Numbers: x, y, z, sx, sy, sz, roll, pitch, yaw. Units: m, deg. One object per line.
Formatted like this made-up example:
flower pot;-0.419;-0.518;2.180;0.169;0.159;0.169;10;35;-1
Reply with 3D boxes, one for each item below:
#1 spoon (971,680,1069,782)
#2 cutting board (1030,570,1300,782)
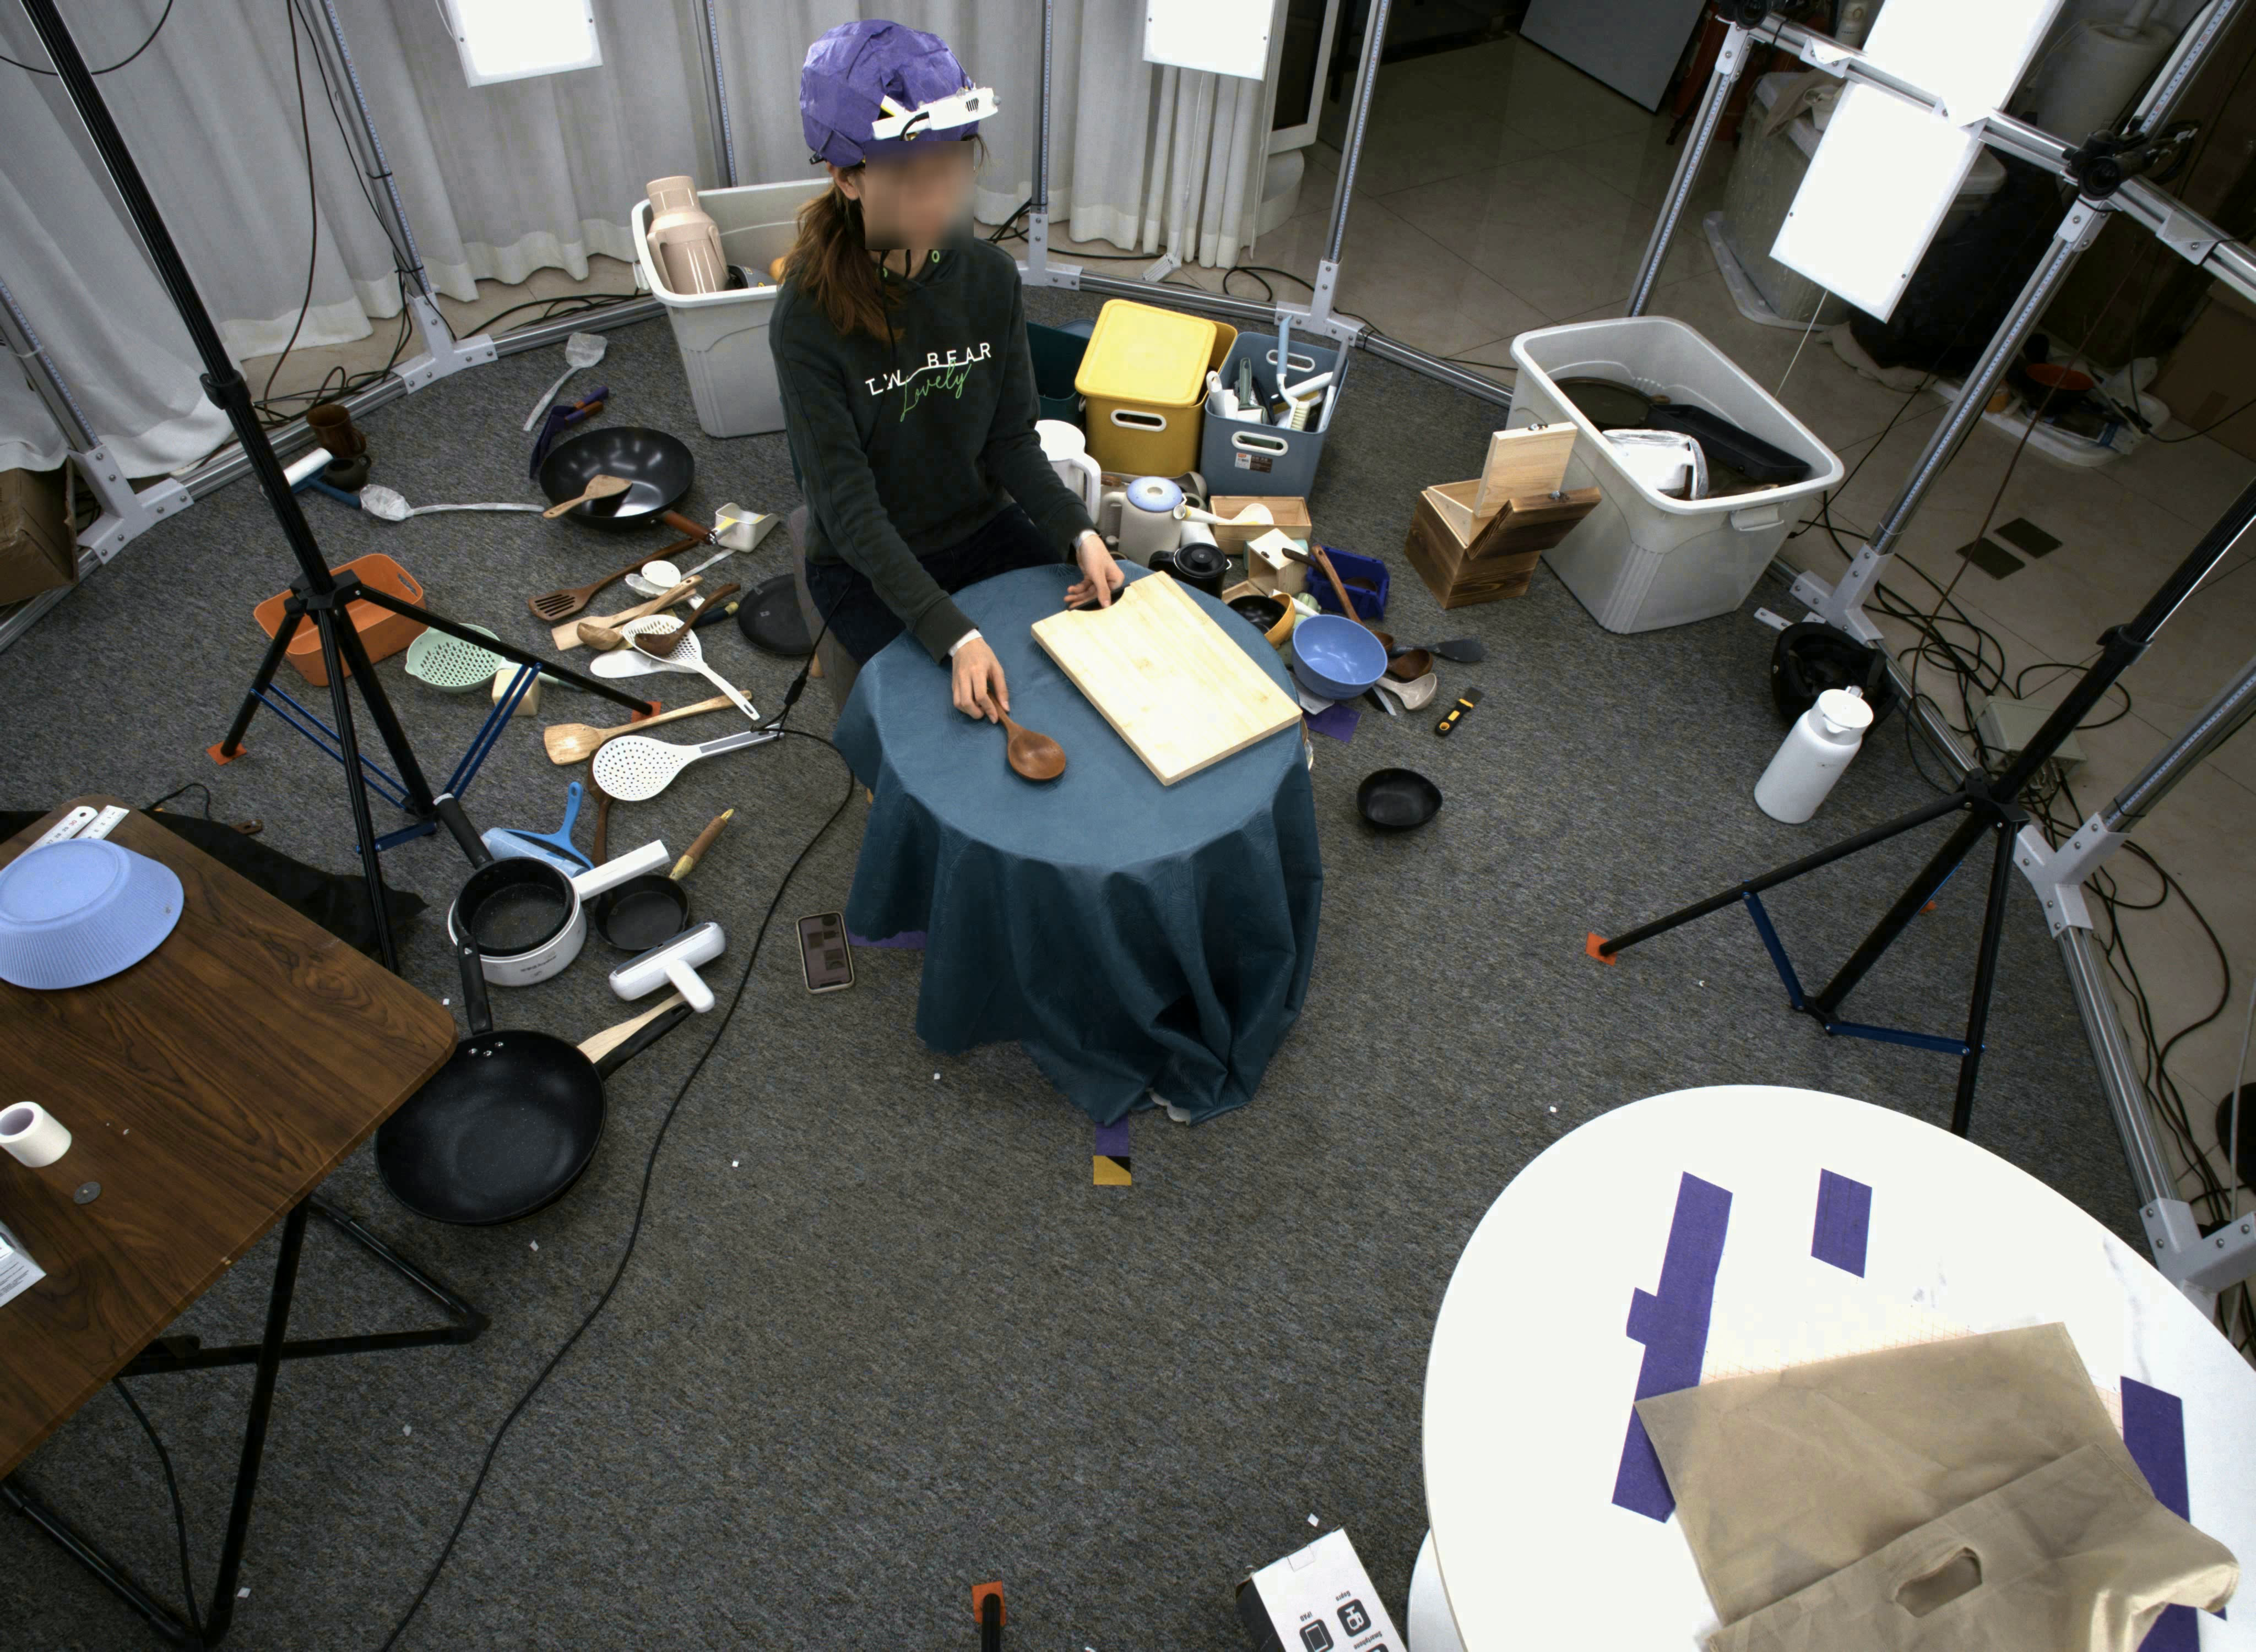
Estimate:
spoon;-0.156;-0.133;1.778;0.076;0.017;0.220;-26;56;-21
cutting board;0.050;-0.226;1.865;0.252;0.023;0.355;-26;58;-25
